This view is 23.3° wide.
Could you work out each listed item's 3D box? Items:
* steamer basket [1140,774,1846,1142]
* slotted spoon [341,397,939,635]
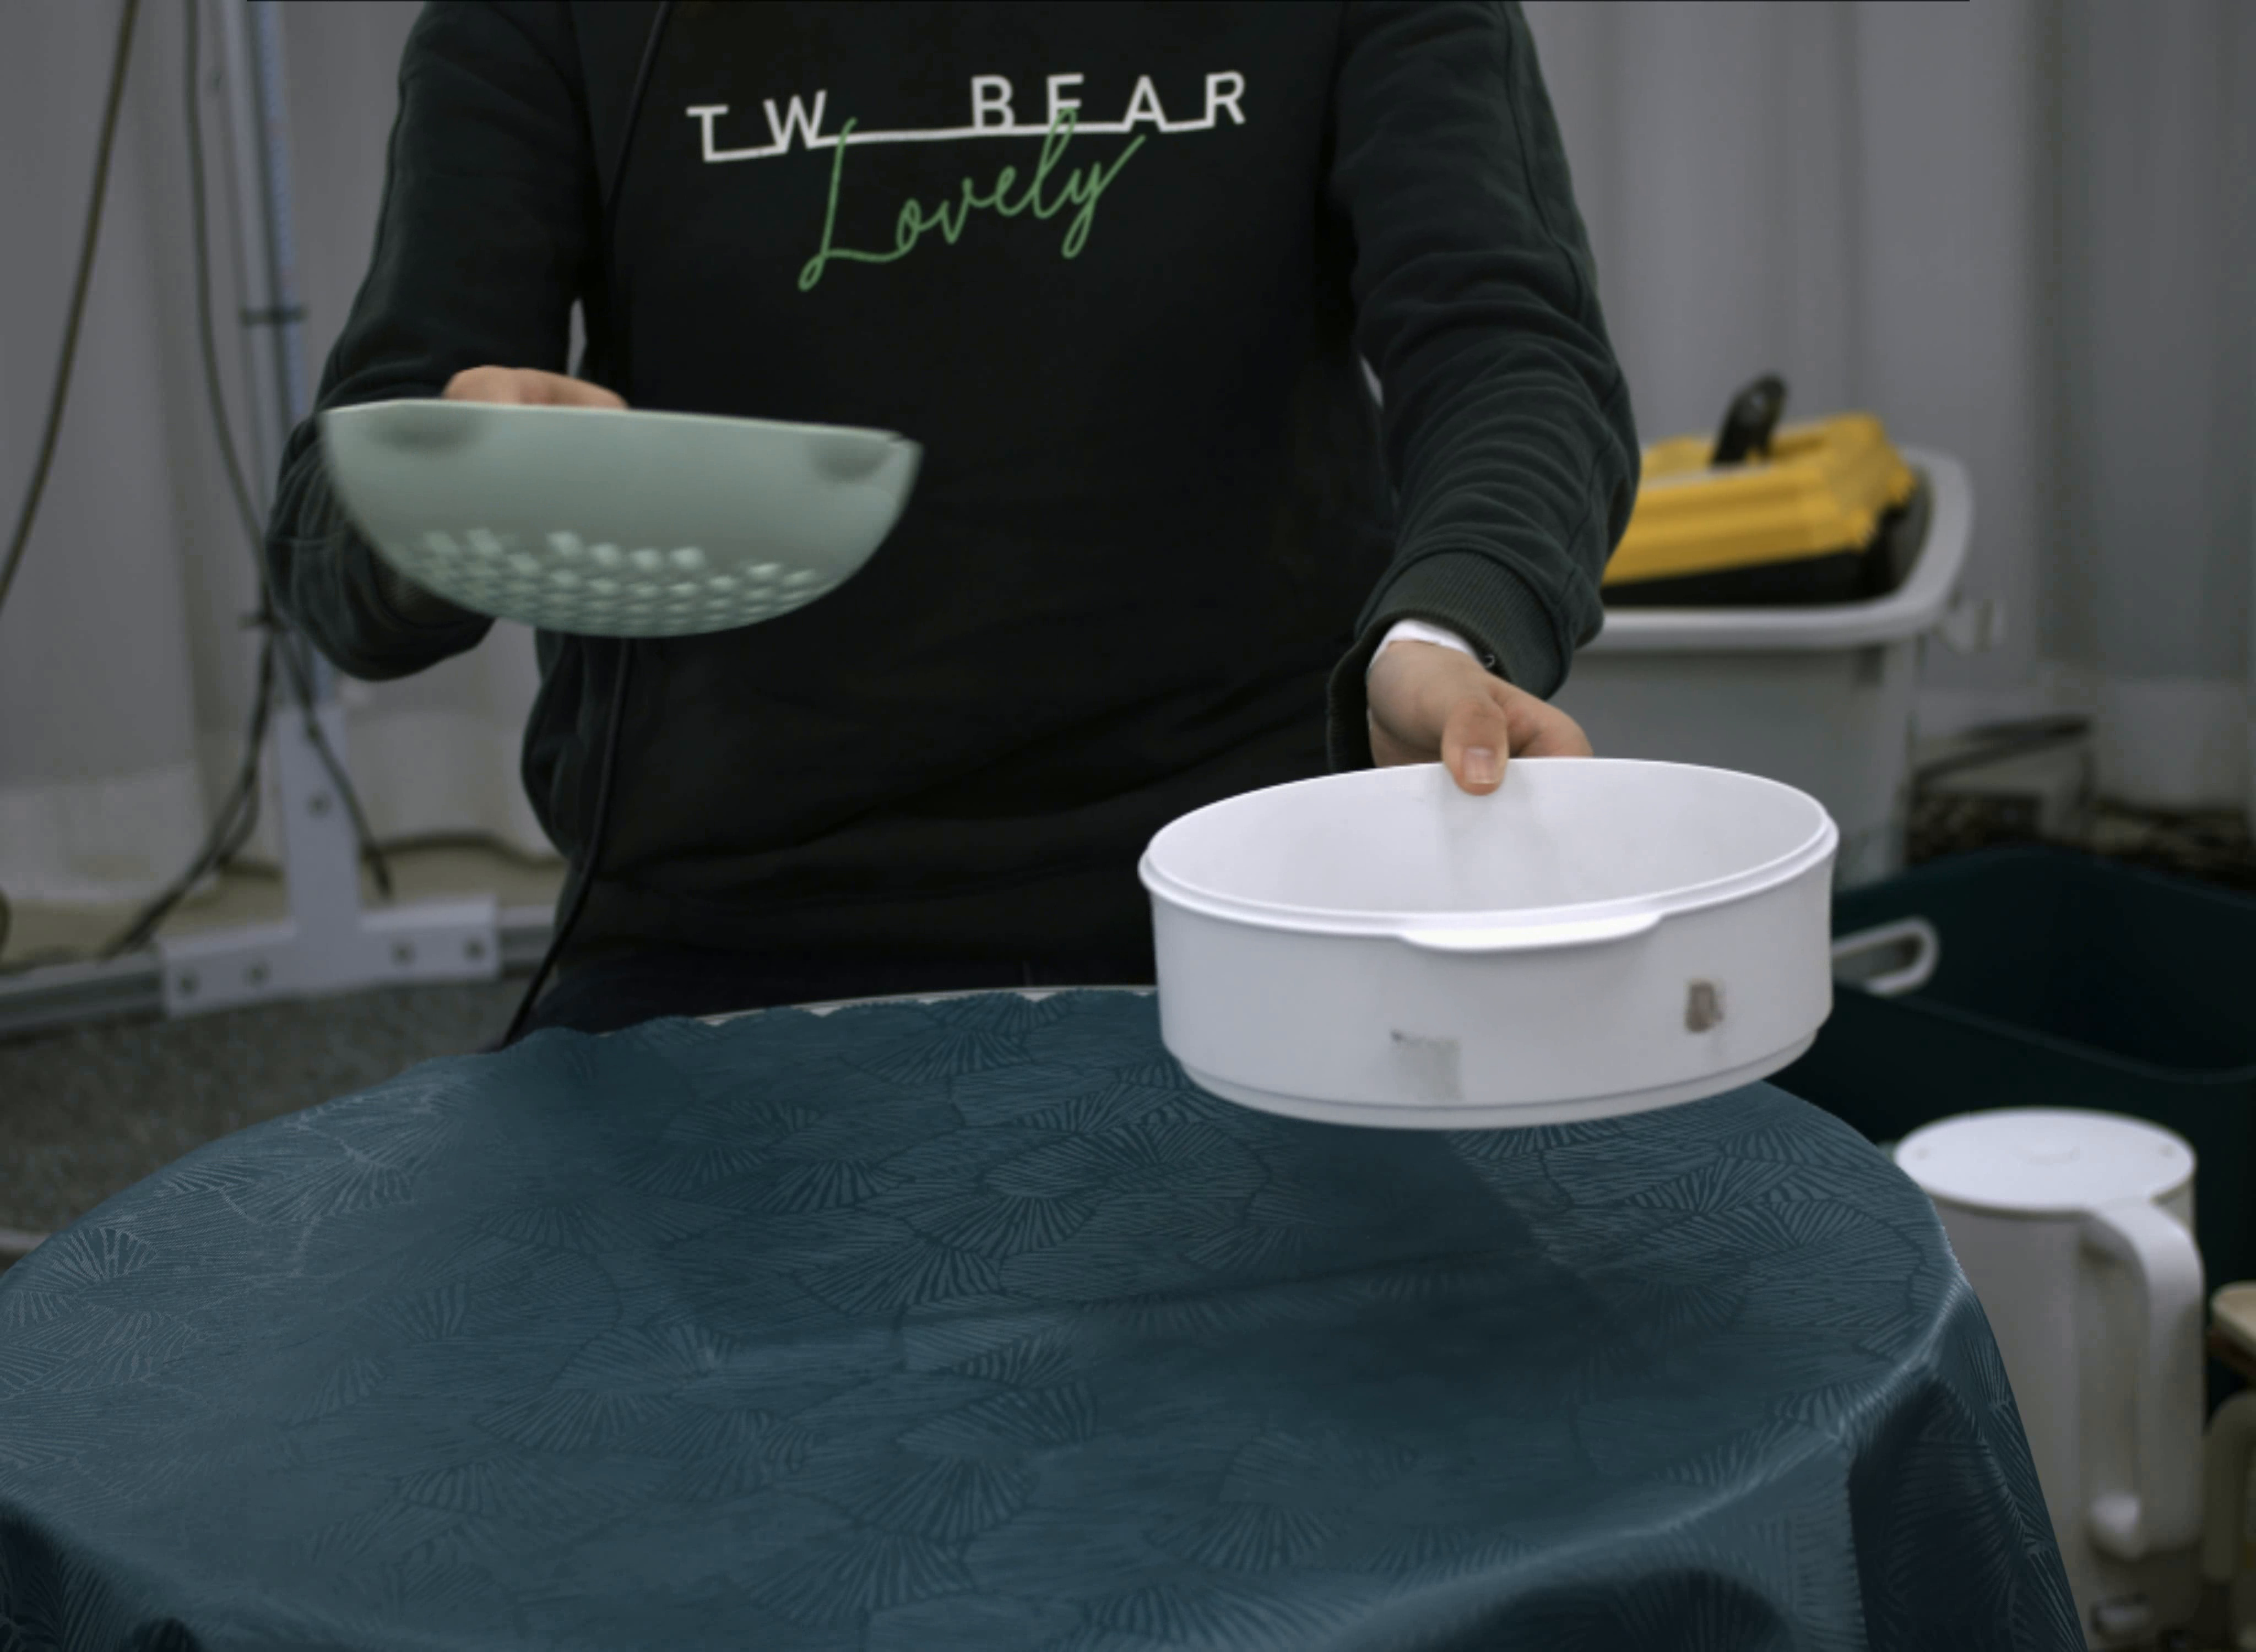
[{"bbox_3d":[0.105,0.037,1.567,0.201,0.069,0.232,-3,12,-4],"label":"steamer basket"},{"bbox_3d":[-0.158,-0.099,1.650,0.168,0.075,0.360,4,7,-11],"label":"slotted spoon"}]
